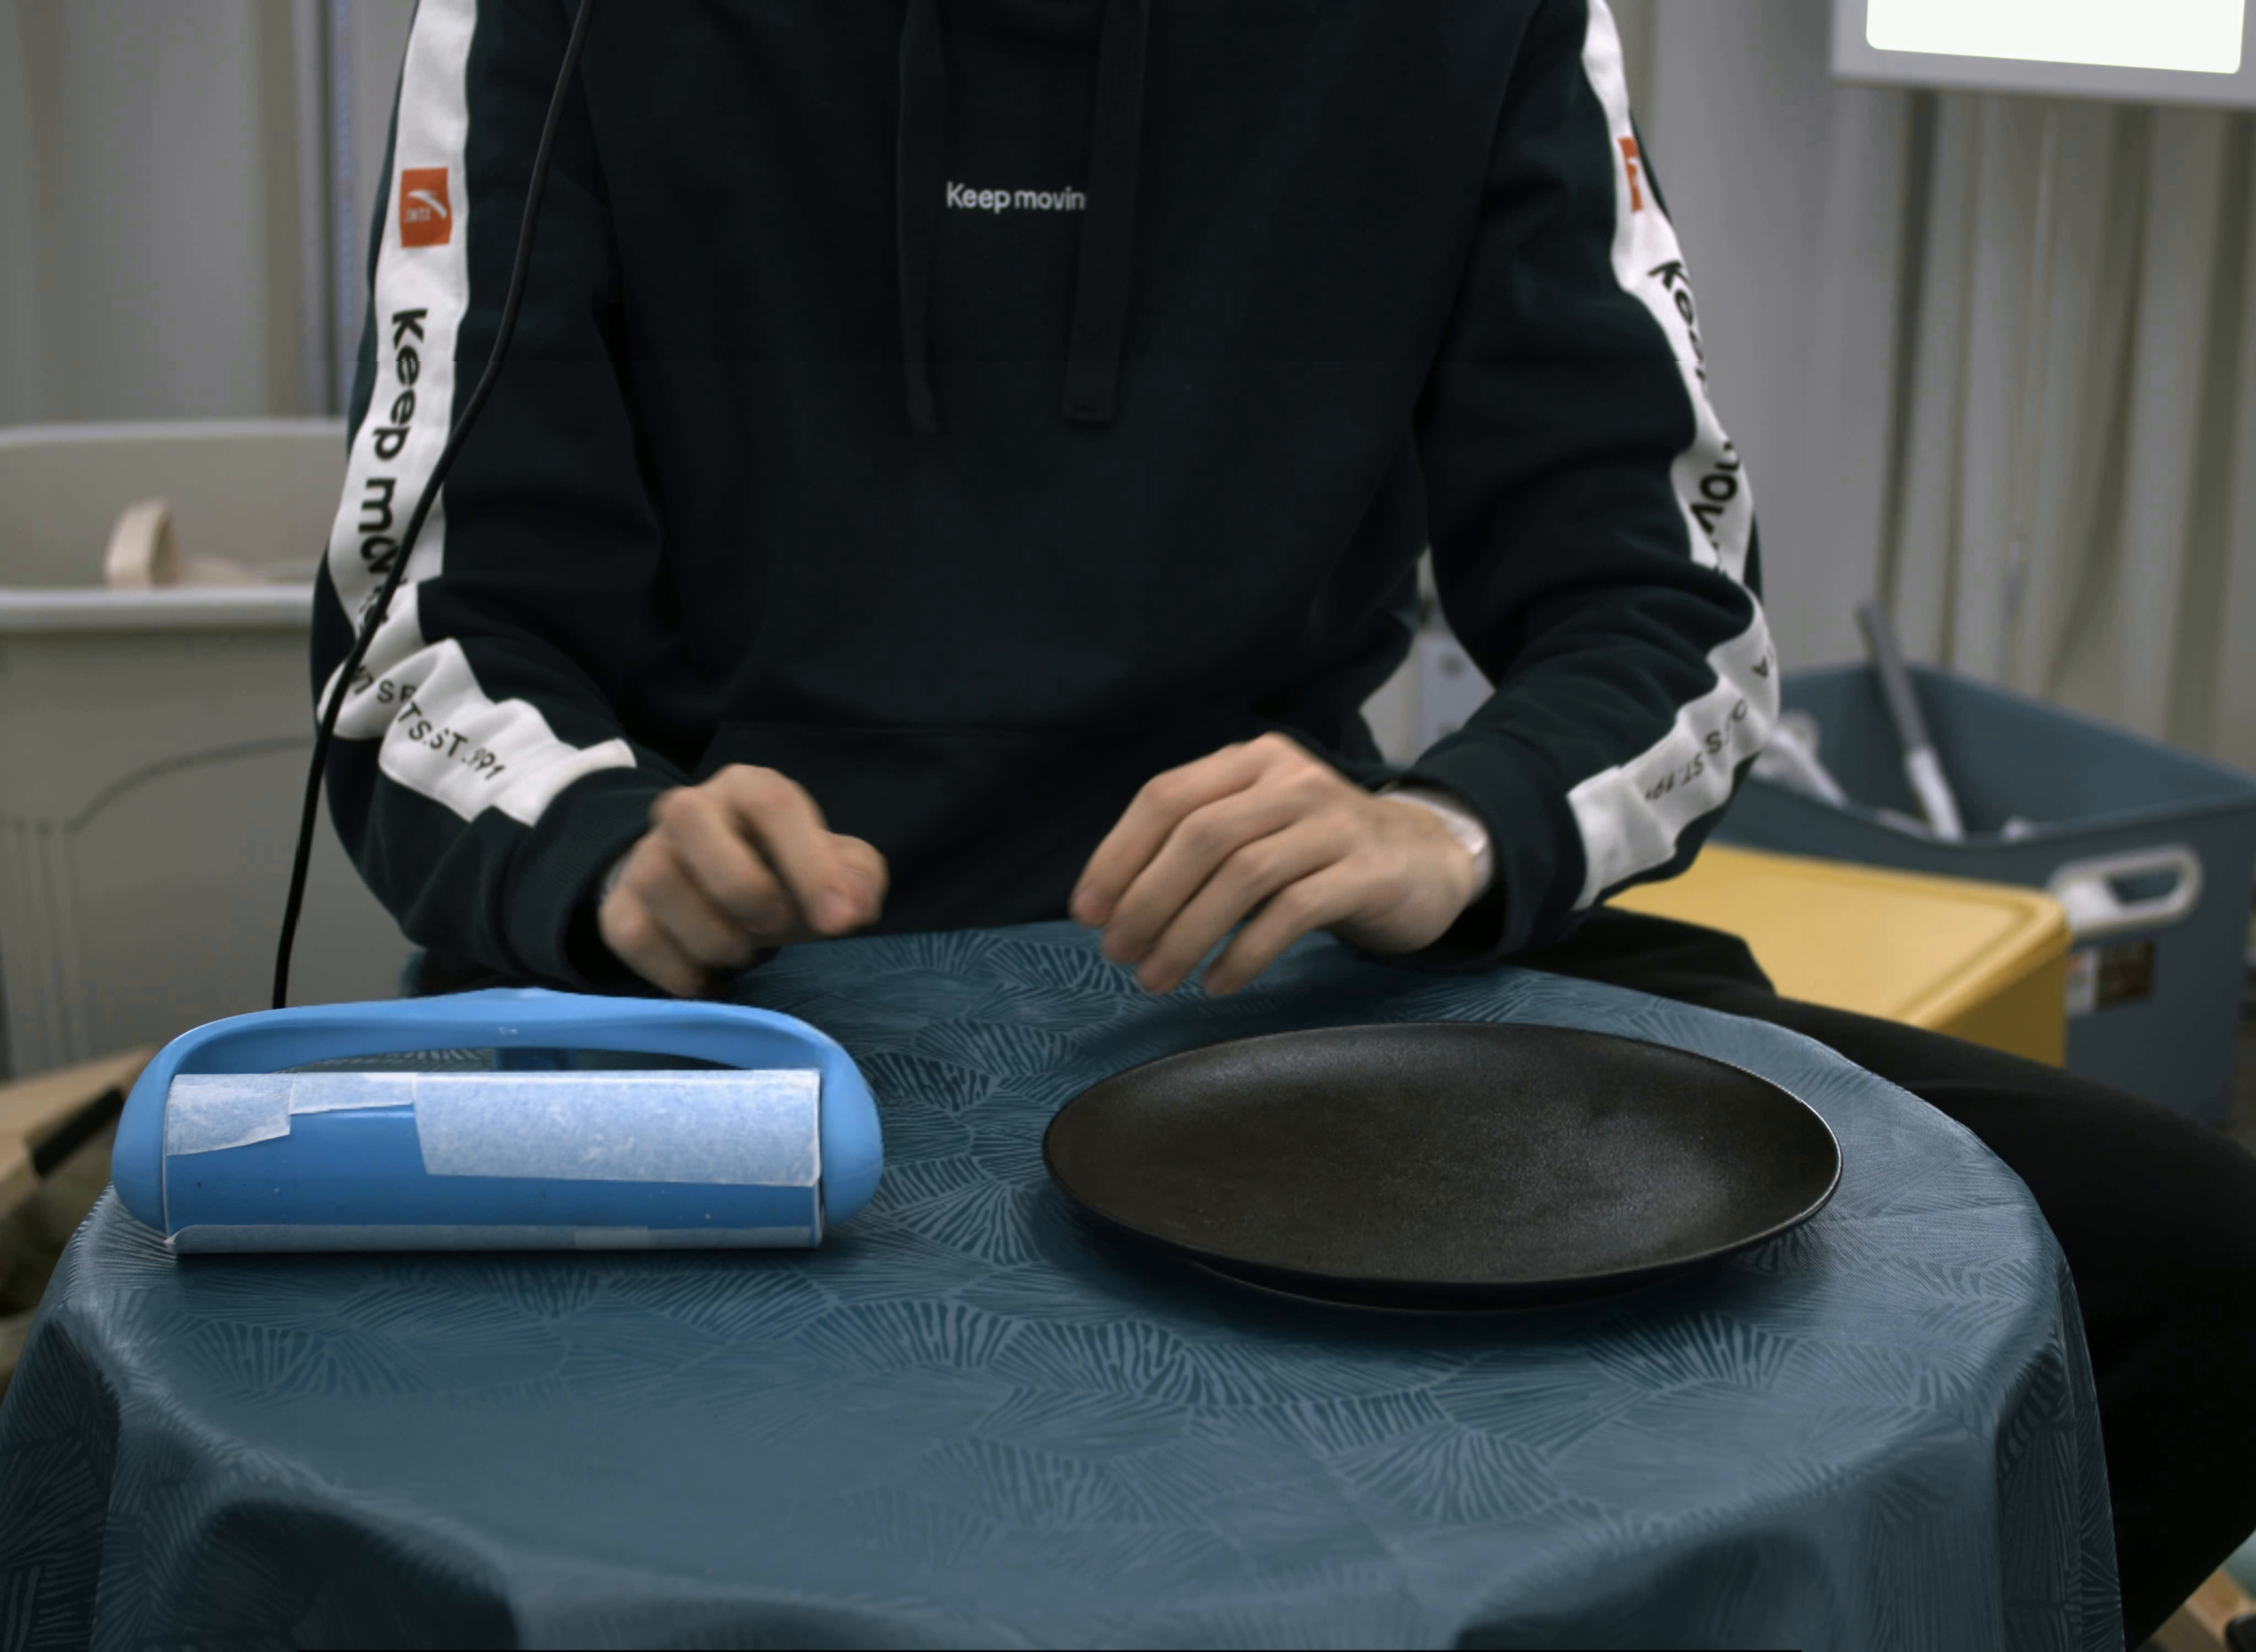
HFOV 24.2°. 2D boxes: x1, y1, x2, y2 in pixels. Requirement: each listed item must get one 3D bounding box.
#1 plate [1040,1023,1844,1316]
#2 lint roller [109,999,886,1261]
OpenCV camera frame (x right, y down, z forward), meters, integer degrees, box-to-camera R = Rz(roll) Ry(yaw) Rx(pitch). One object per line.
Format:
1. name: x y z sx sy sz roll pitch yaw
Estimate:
1. plate: 0.095 0.107 1.601 0.243 0.023 0.243 1 15 0
2. lint roller: -0.191 0.083 1.614 0.228 0.068 0.179 -2 16 -5
